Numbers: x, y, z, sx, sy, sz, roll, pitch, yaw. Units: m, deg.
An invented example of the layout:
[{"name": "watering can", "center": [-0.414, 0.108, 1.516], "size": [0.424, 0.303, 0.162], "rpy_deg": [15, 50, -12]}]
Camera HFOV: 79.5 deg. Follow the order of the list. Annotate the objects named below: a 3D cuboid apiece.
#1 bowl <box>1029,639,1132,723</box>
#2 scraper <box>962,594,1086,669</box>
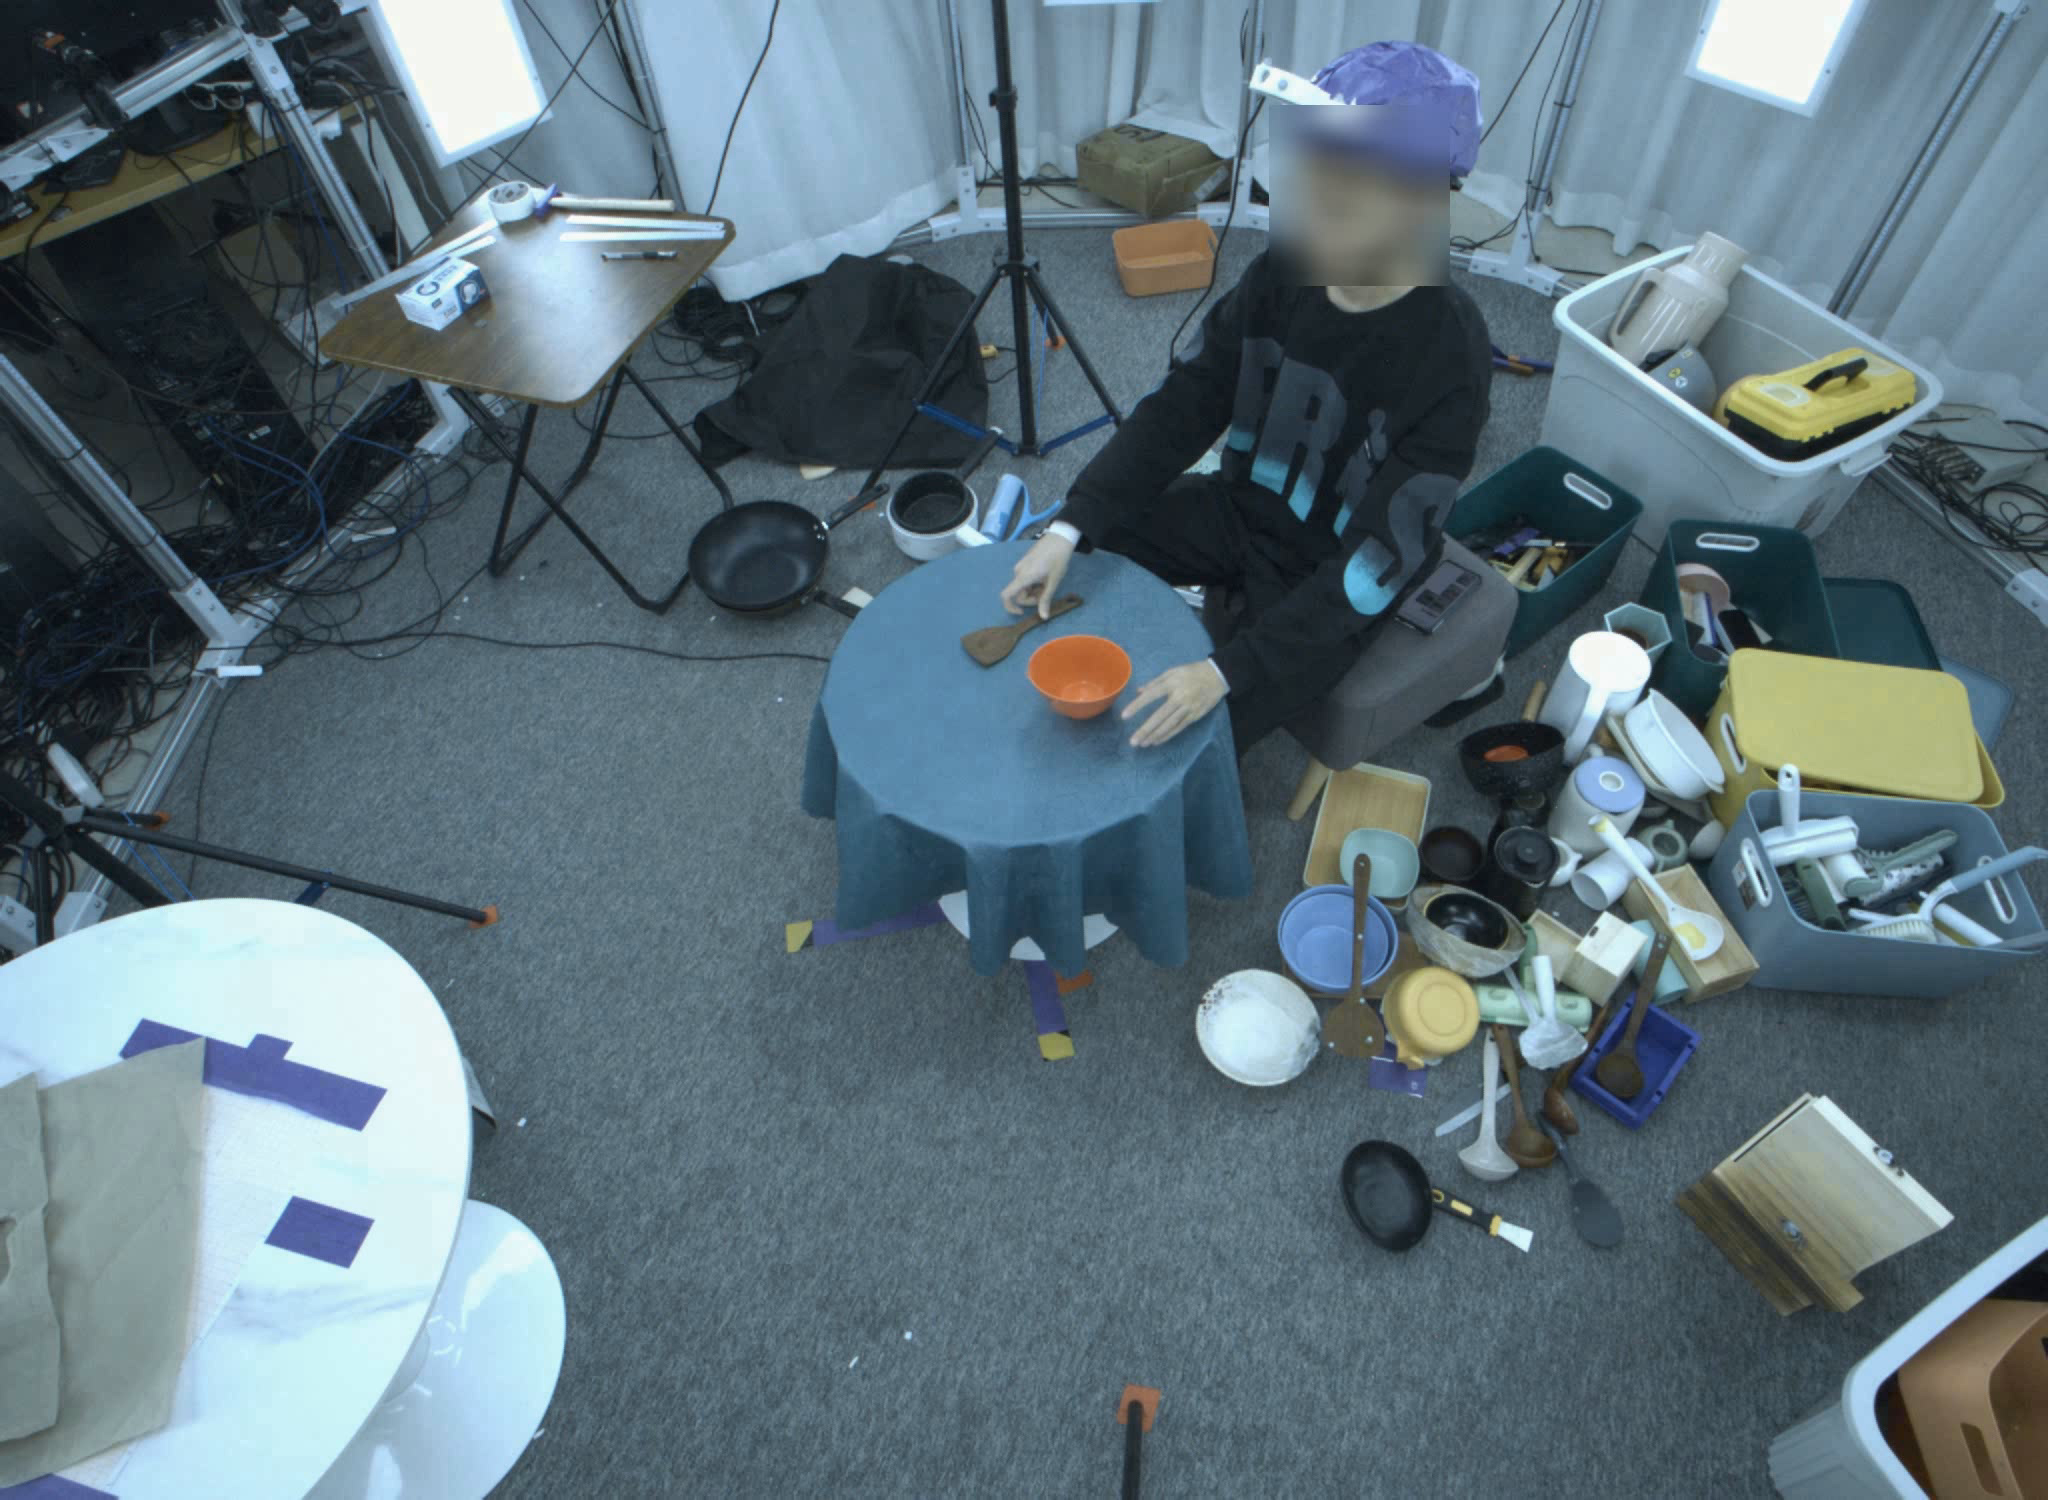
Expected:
[{"name": "bowl", "center": [0.084, -0.088, 1.796], "size": [0.148, 0.106, 0.146], "rpy_deg": [-1, 53, 3]}, {"name": "scraper", "center": [0.006, -0.193, 1.928], "size": [0.213, 0.011, 0.074], "rpy_deg": [-30, 60, -19]}]
